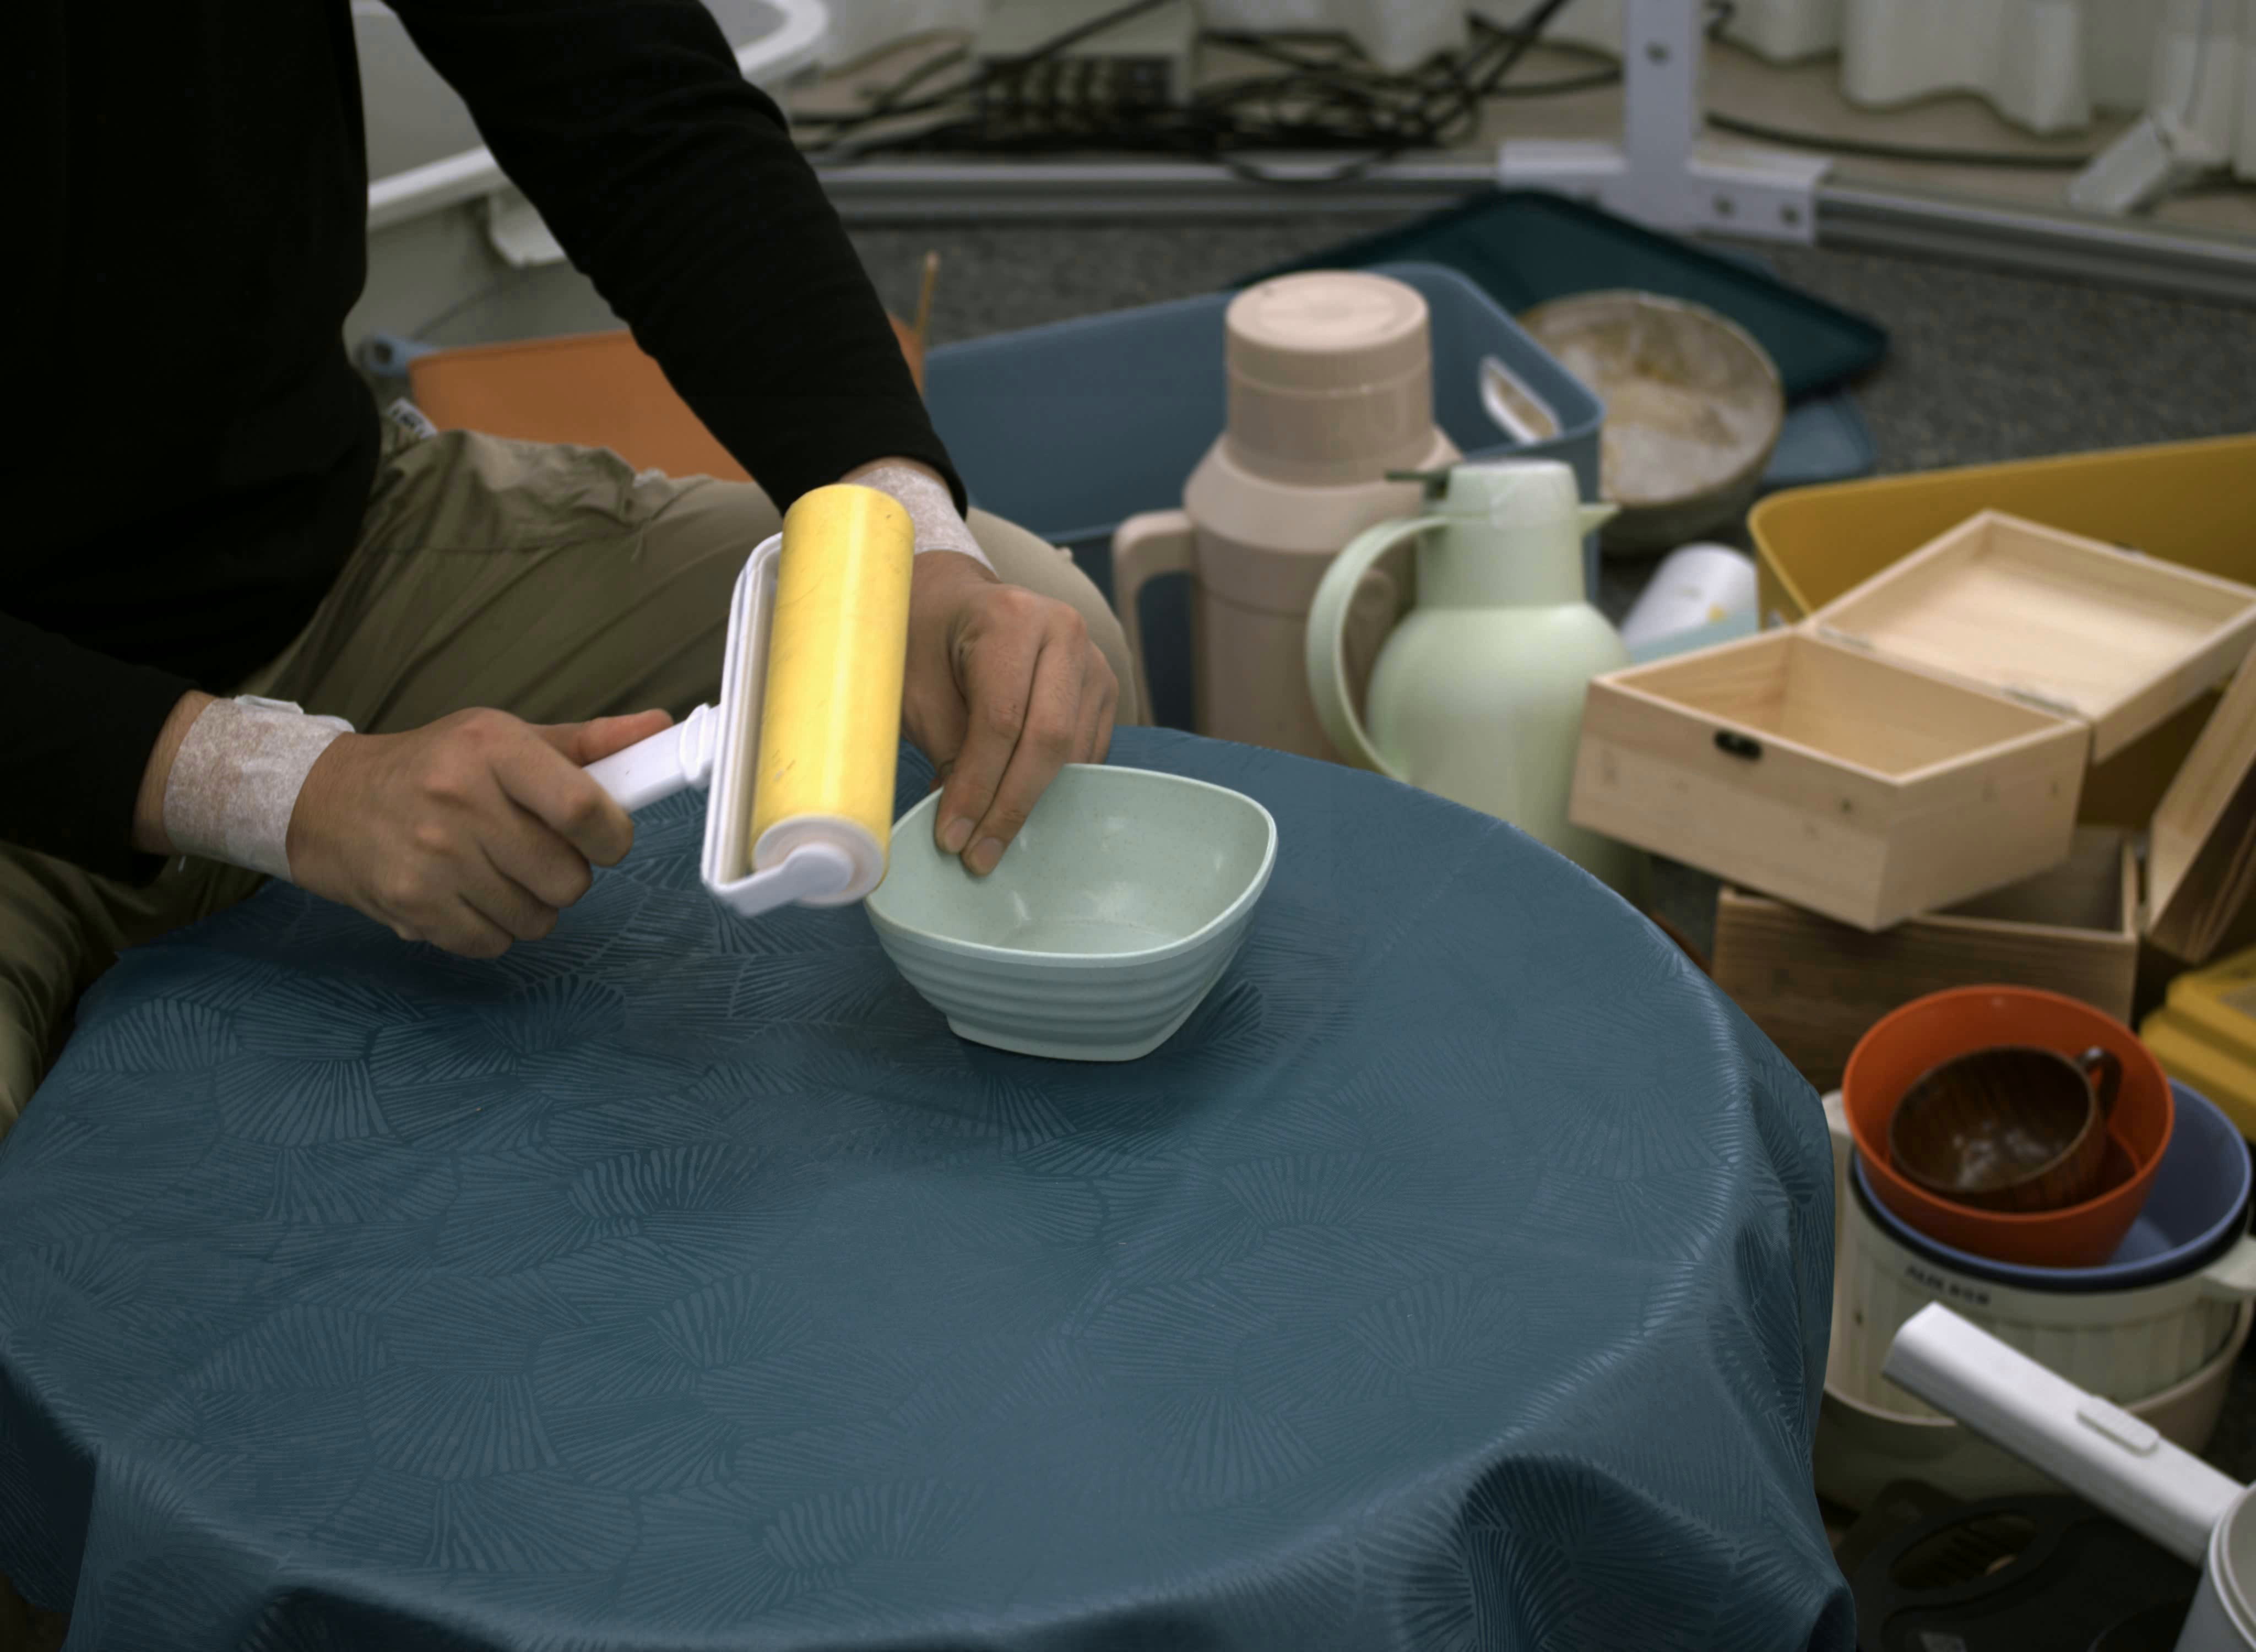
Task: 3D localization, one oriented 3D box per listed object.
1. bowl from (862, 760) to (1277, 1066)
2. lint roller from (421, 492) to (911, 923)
[{"bbox_3d":[-0.020,0.036,1.966,0.151,0.058,0.154,0,28,0],"label":"bowl"},{"bbox_3d":[-0.167,-0.023,1.950,0.190,0.051,0.178,-14,44,15],"label":"lint roller"}]
